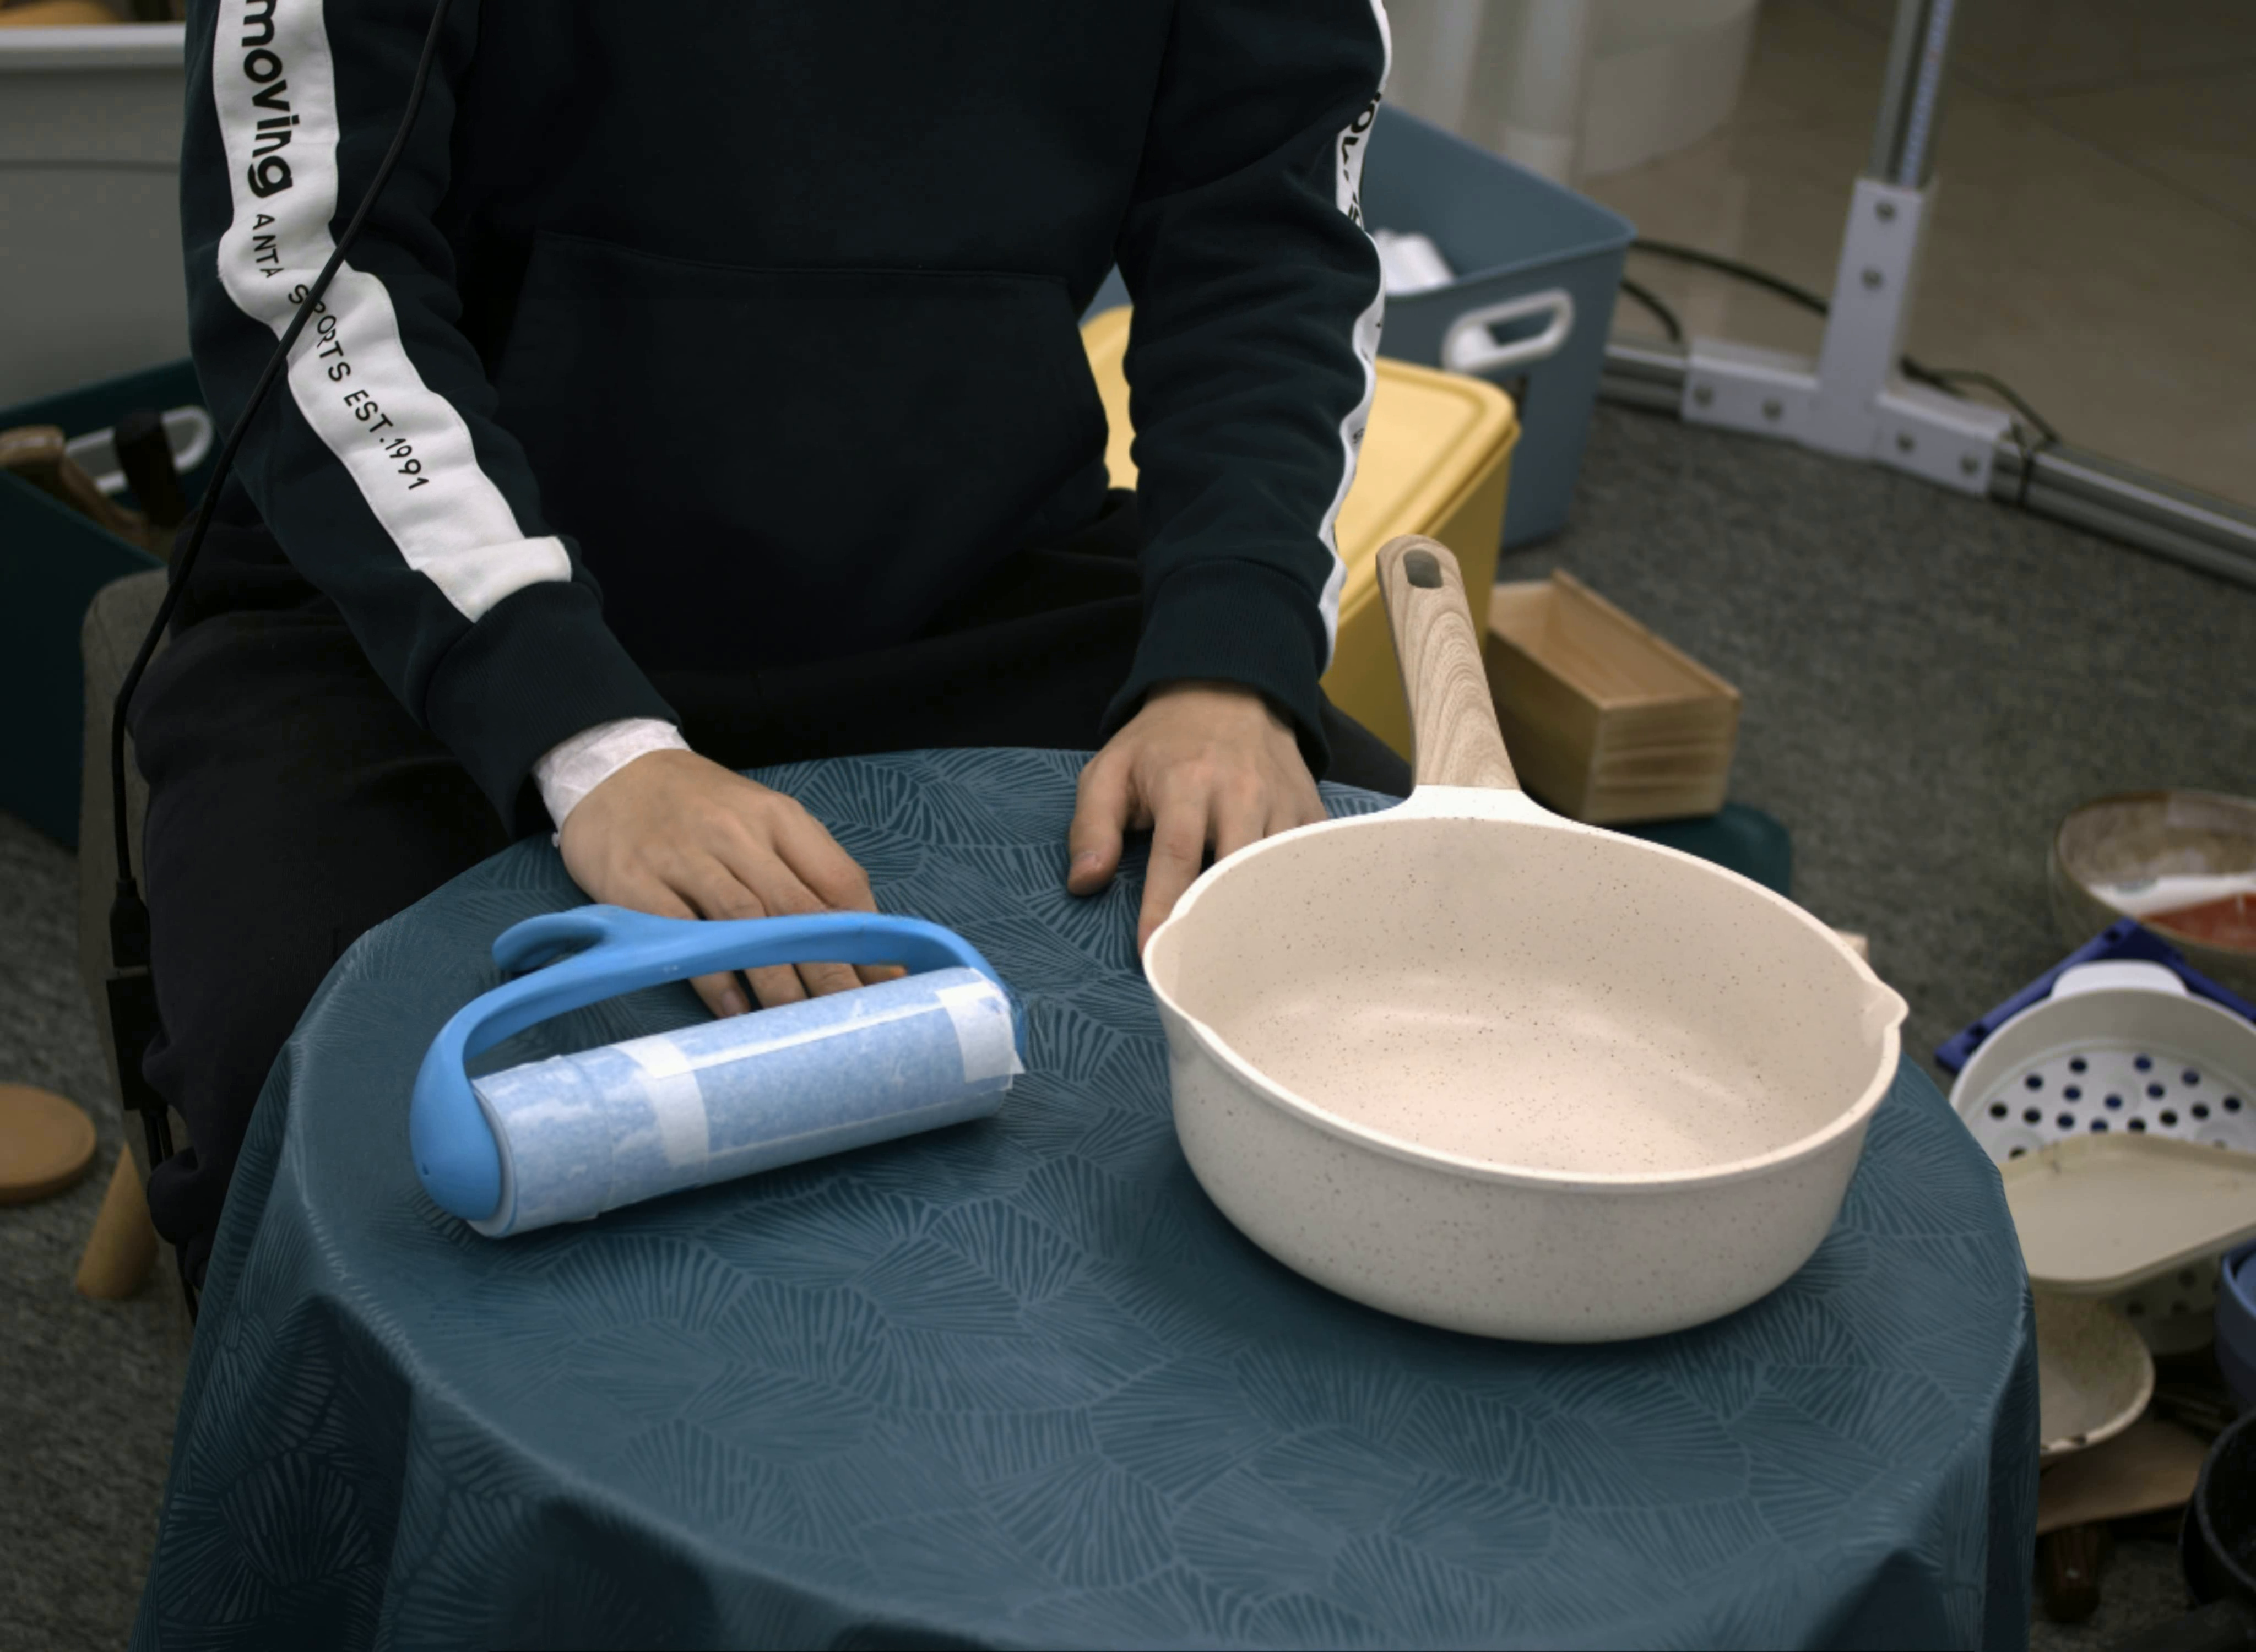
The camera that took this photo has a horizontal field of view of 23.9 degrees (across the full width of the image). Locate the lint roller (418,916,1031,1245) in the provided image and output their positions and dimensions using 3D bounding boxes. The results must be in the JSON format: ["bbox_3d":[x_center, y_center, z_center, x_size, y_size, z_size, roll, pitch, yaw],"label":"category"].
[{"bbox_3d":[-0.166,0.065,1.814,0.227,0.067,0.182,-15,35,-33],"label":"lint roller"}]

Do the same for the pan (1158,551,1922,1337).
[{"bbox_3d":[0.127,0.039,1.884,0.262,0.101,0.438,1,27,-8],"label":"pan"}]
